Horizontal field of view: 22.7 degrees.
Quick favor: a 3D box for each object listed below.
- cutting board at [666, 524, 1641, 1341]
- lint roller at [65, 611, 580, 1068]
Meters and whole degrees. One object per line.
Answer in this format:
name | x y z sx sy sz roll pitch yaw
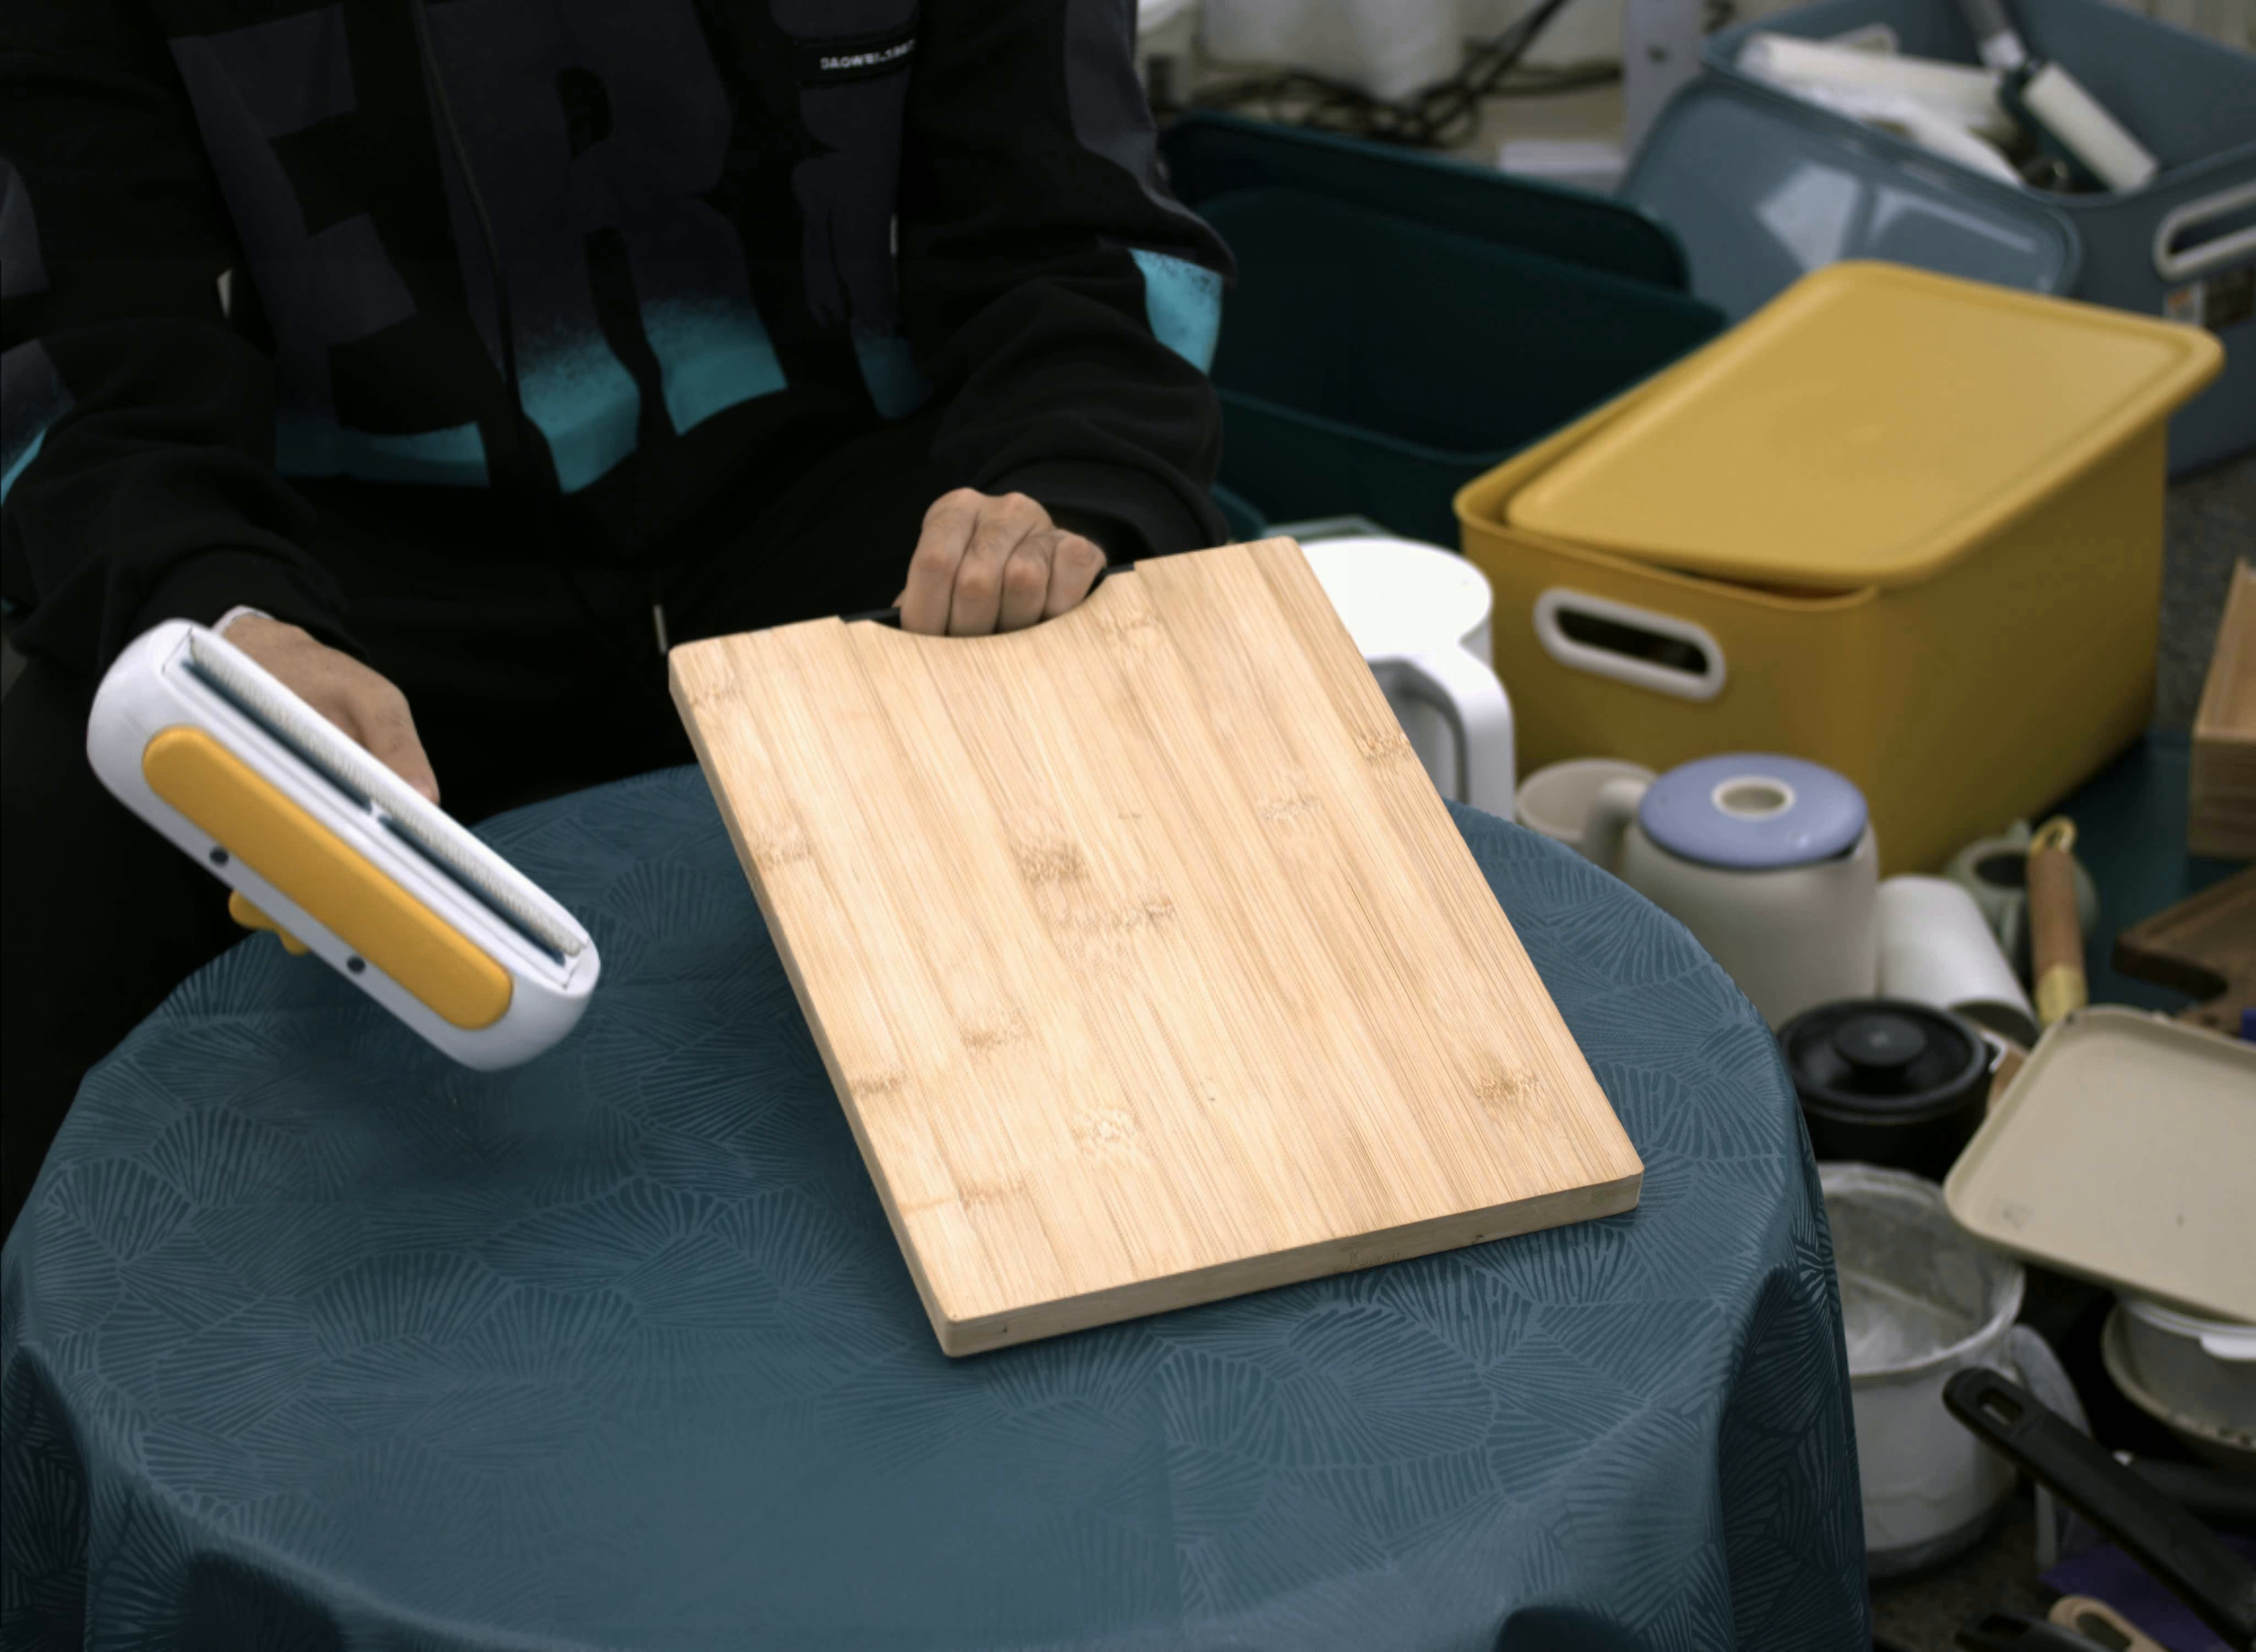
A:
cutting board | 0.000 0.029 1.923 0.251 0.023 0.353 -11 43 -16
lint roller | -0.268 -0.002 1.919 0.192 0.074 0.194 35 12 -6
